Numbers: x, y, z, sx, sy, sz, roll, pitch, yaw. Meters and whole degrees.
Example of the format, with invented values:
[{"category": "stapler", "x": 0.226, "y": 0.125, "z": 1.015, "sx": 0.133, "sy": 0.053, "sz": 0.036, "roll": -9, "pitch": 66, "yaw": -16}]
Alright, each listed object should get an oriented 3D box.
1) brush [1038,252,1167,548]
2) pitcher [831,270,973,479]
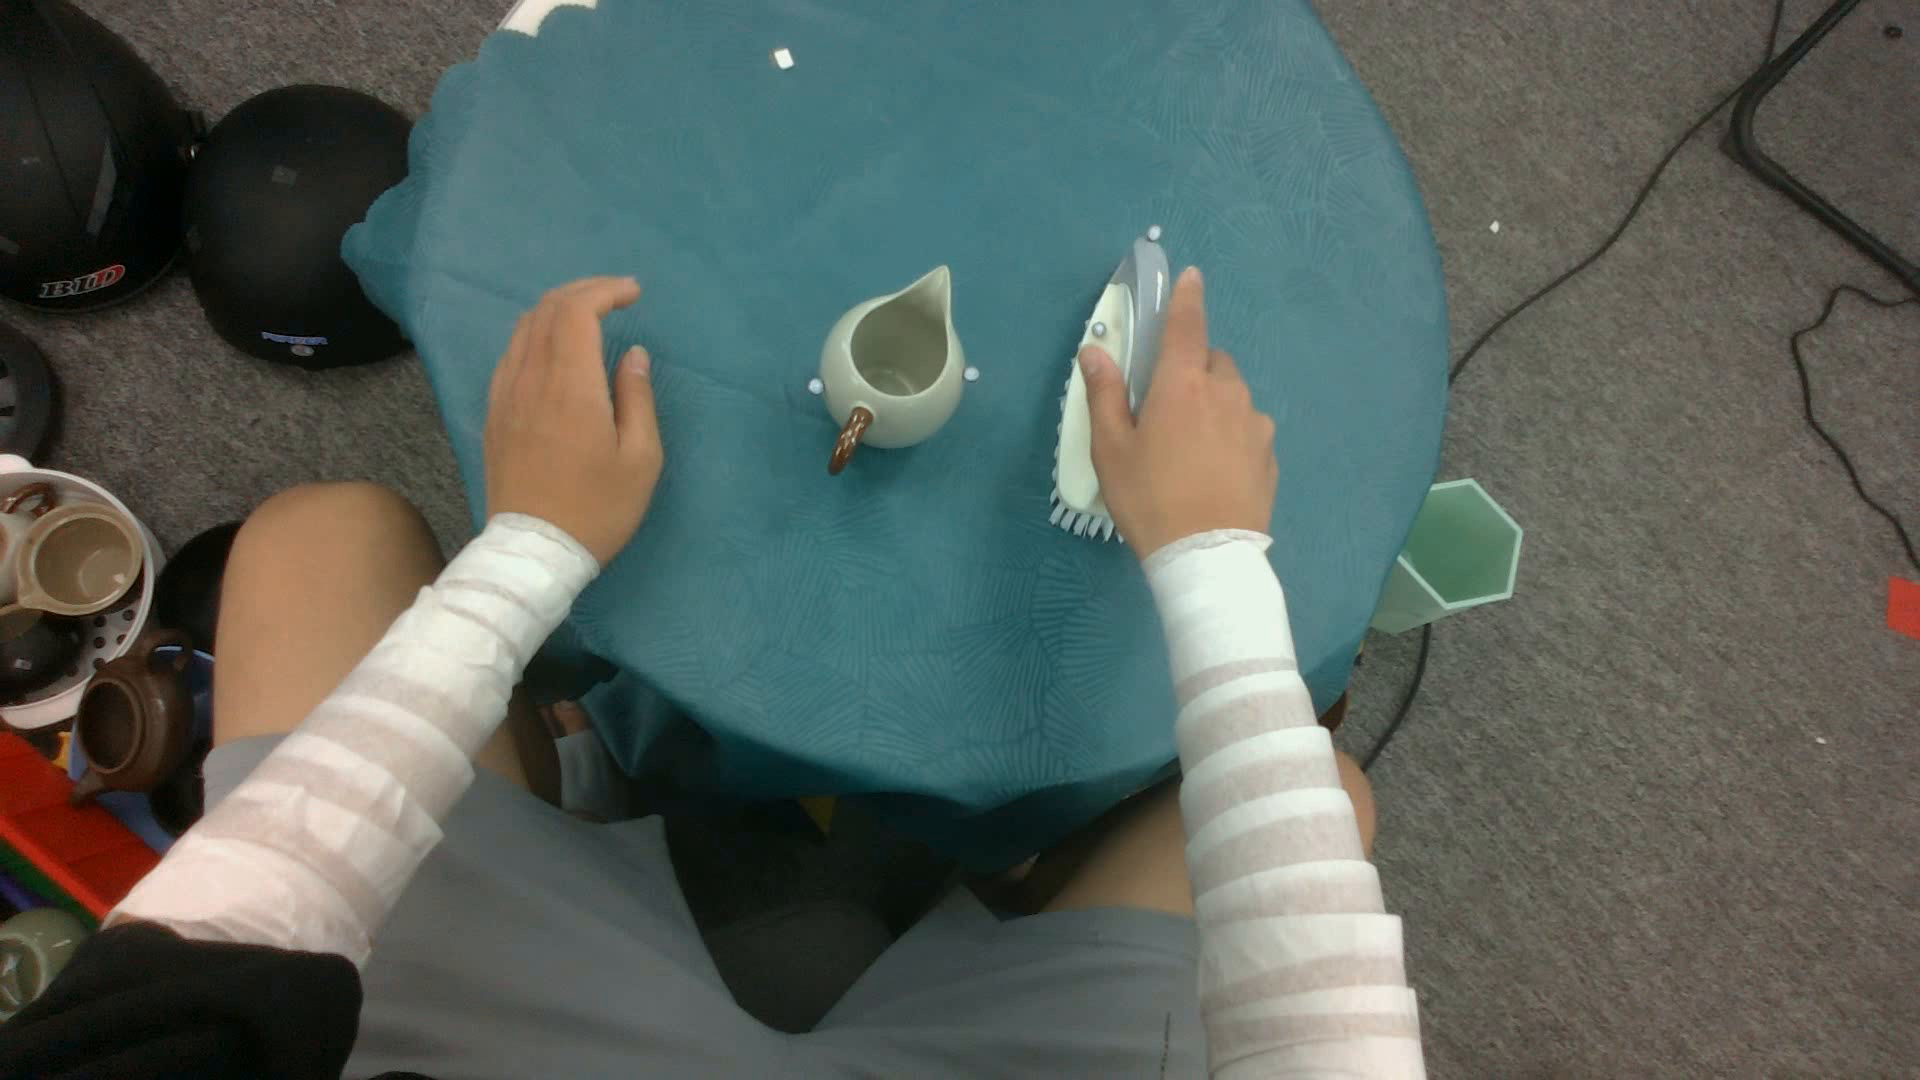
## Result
[{"category": "brush", "x": 0.087, "y": -0.091, "z": 0.758, "sx": 0.061, "sy": 0.094, "sz": 0.176, "roll": 13, "pitch": 67, "yaw": -6}, {"category": "pitcher", "x": -0.035, "y": -0.076, "z": 0.737, "sx": 0.076, "sy": 0.087, "sz": 0.119, "roll": 28, "pitch": 70, "yaw": 4}]
